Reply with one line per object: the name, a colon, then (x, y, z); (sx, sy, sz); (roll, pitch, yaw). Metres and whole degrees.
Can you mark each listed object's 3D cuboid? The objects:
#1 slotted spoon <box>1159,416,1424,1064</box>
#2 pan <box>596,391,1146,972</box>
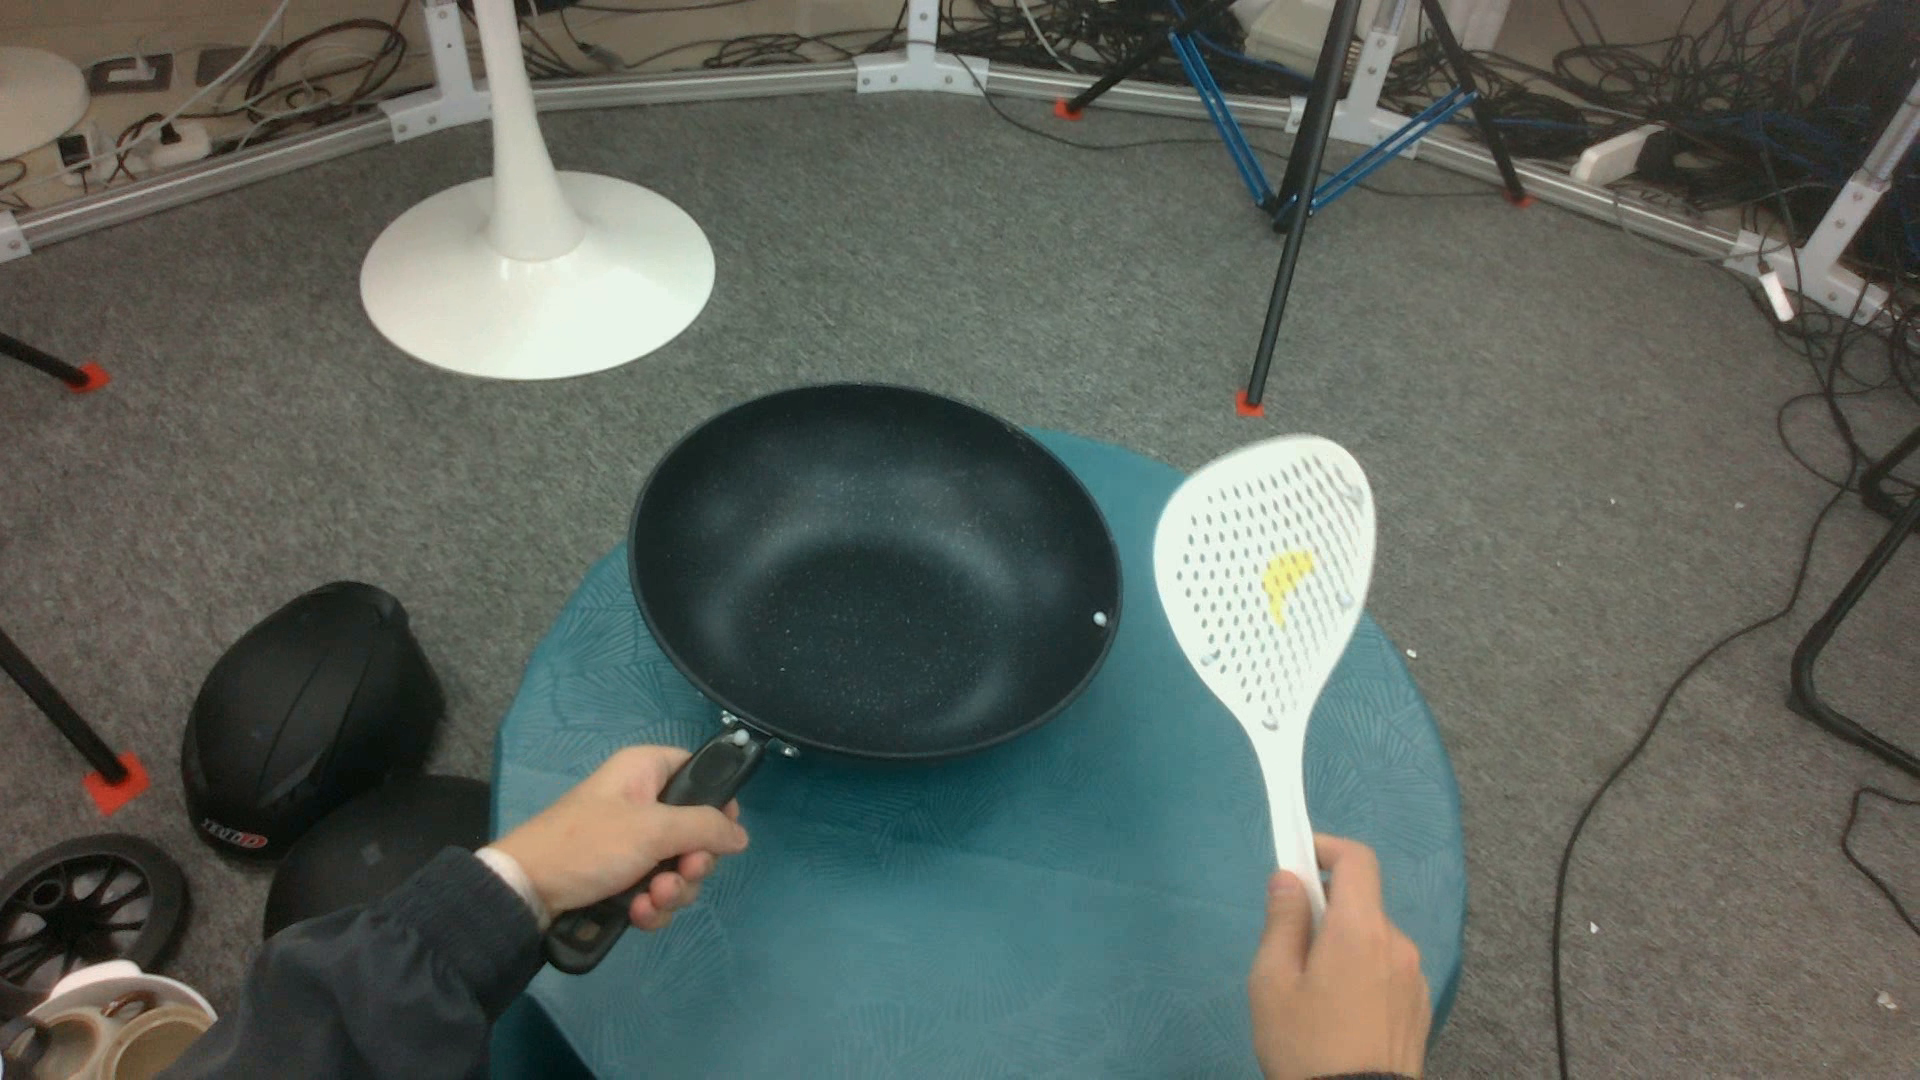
slotted spoon: (0.191, 0.097, 0.742); (0.136, 0.050, 0.349); (-24, 56, 34)
pan: (-0.071, 0.081, 0.839); (0.310, 0.111, 0.479); (21, 47, 12)
